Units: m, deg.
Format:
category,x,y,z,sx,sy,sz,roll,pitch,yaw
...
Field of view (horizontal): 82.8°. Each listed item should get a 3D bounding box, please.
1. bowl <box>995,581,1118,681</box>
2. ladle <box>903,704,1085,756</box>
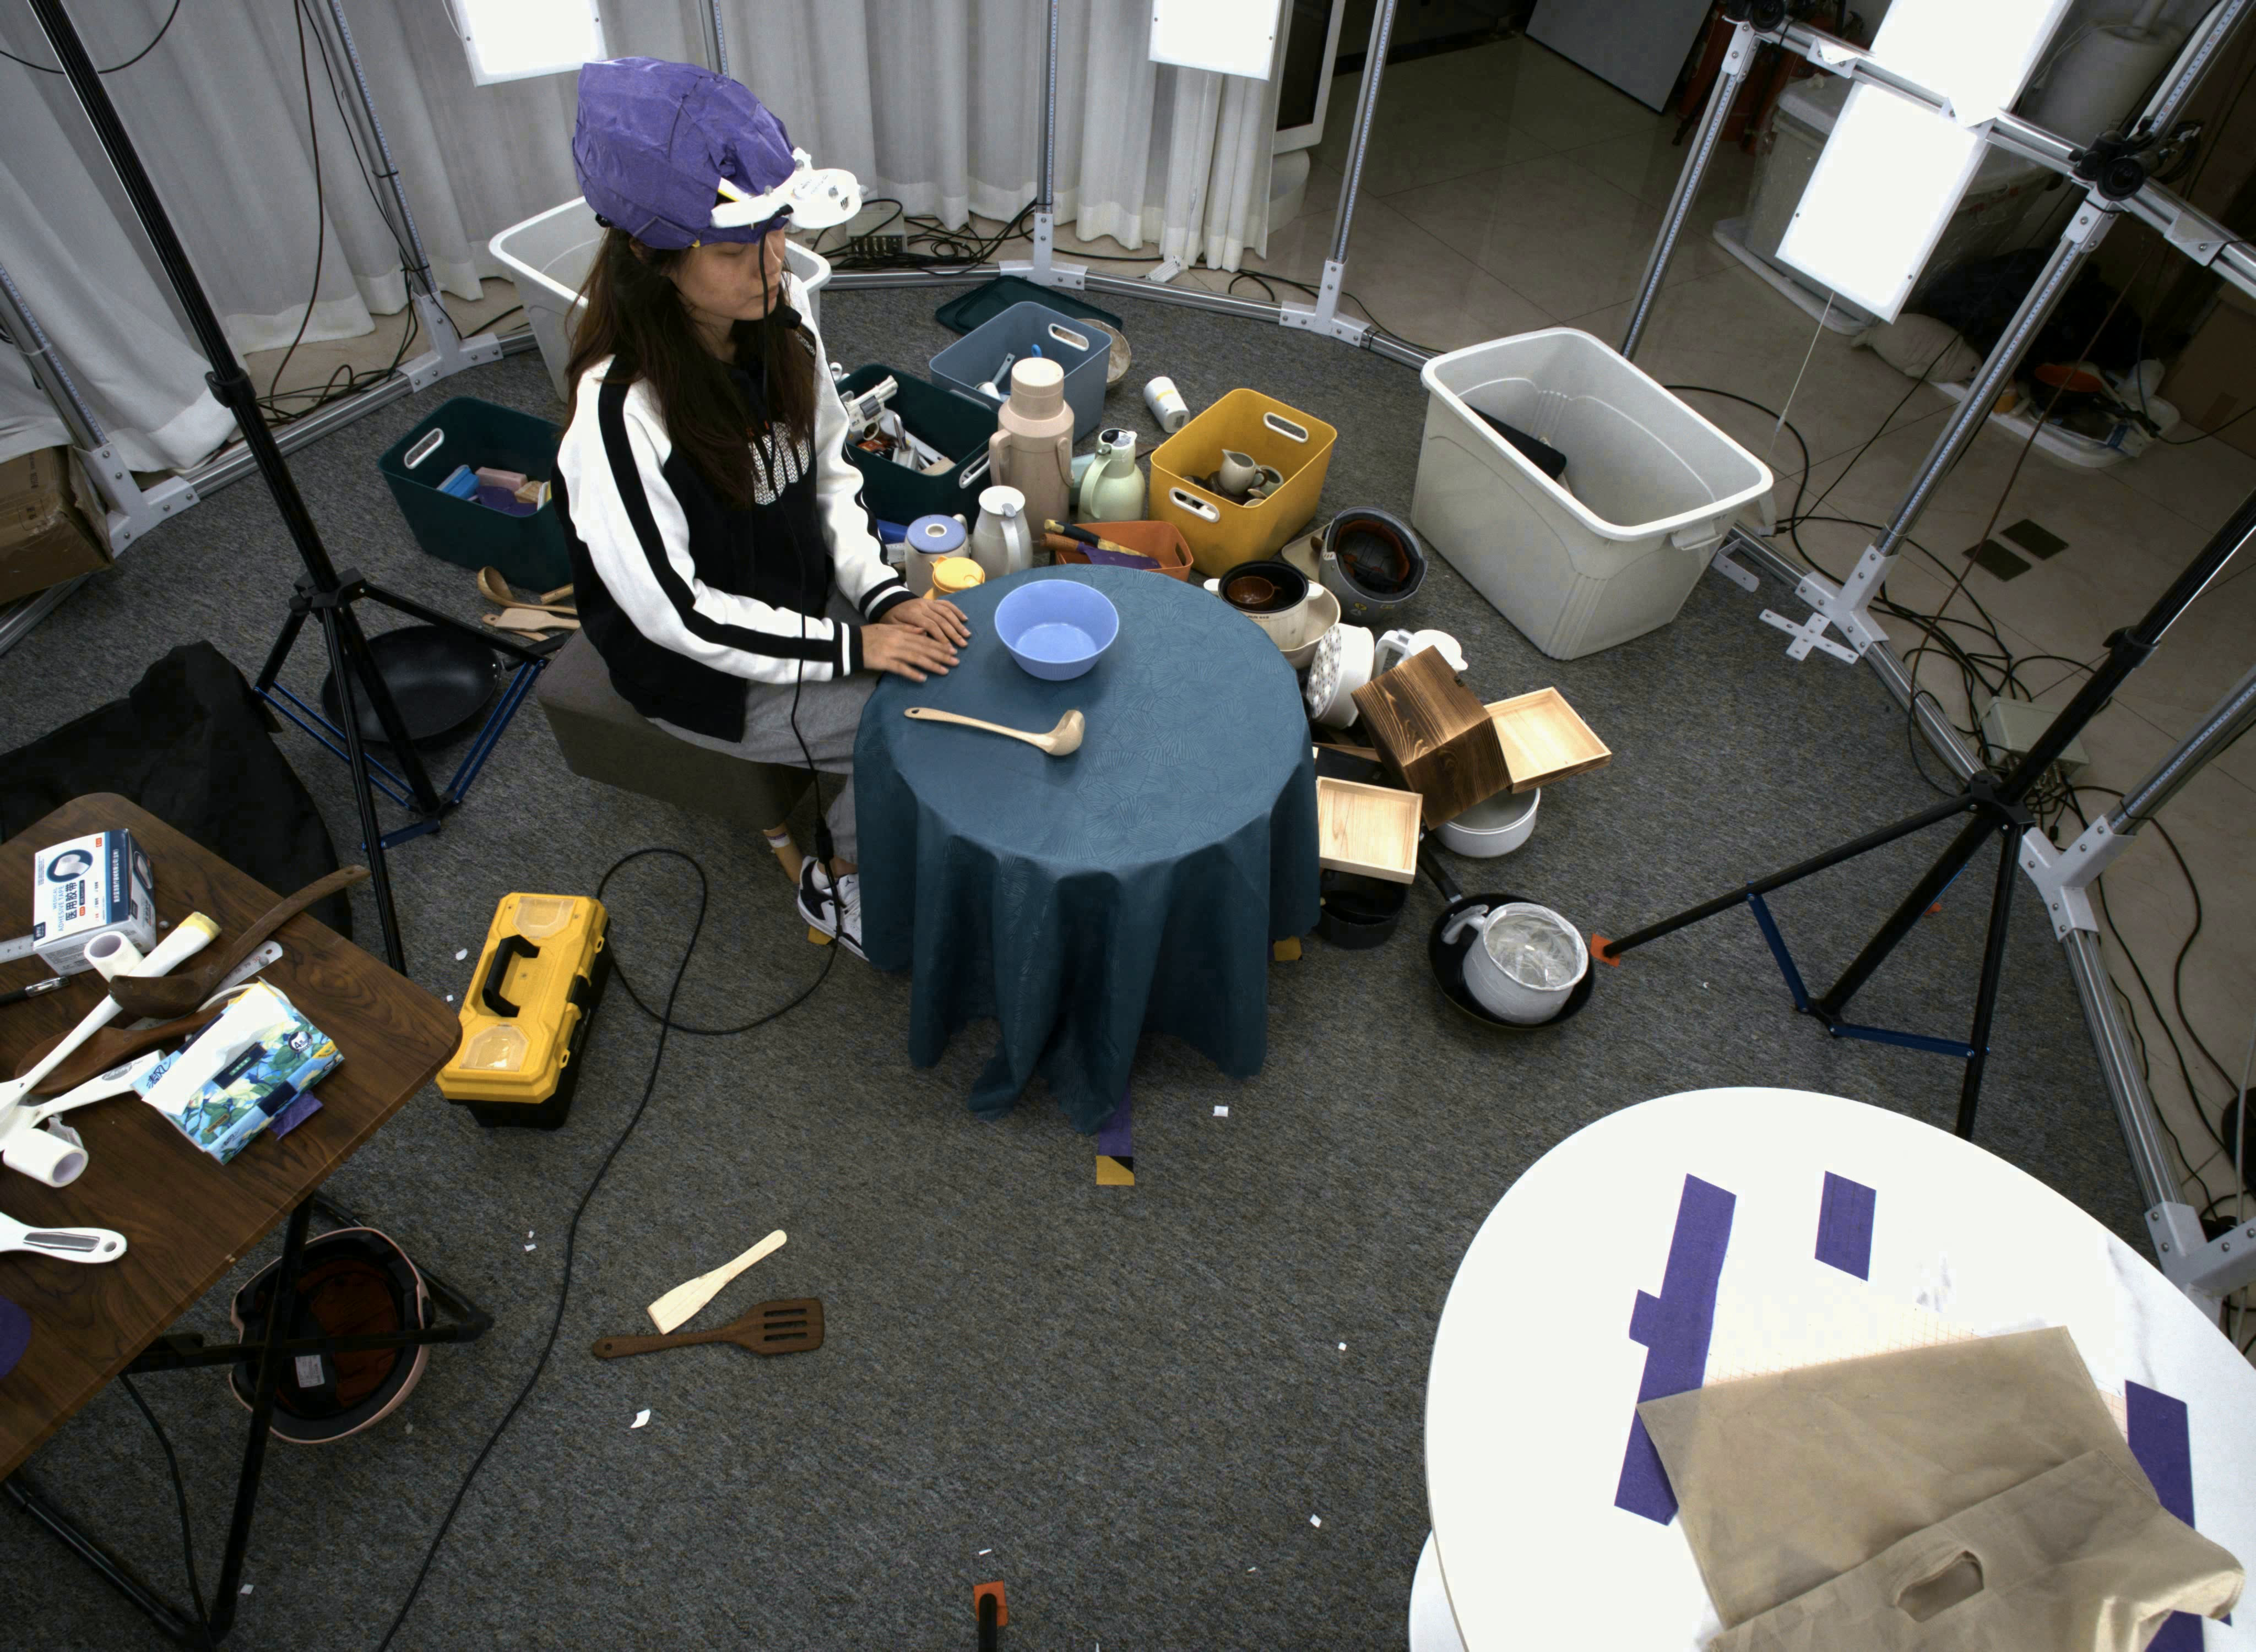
category,x,y,z,sx,sy,sz,roll,pitch,yaw
bowl,-0.104,-0.272,1.854,0.176,0.068,0.180,2,48,-3
ladle,-0.185,-0.149,1.740,0.255,0.071,0.074,11,52,6
